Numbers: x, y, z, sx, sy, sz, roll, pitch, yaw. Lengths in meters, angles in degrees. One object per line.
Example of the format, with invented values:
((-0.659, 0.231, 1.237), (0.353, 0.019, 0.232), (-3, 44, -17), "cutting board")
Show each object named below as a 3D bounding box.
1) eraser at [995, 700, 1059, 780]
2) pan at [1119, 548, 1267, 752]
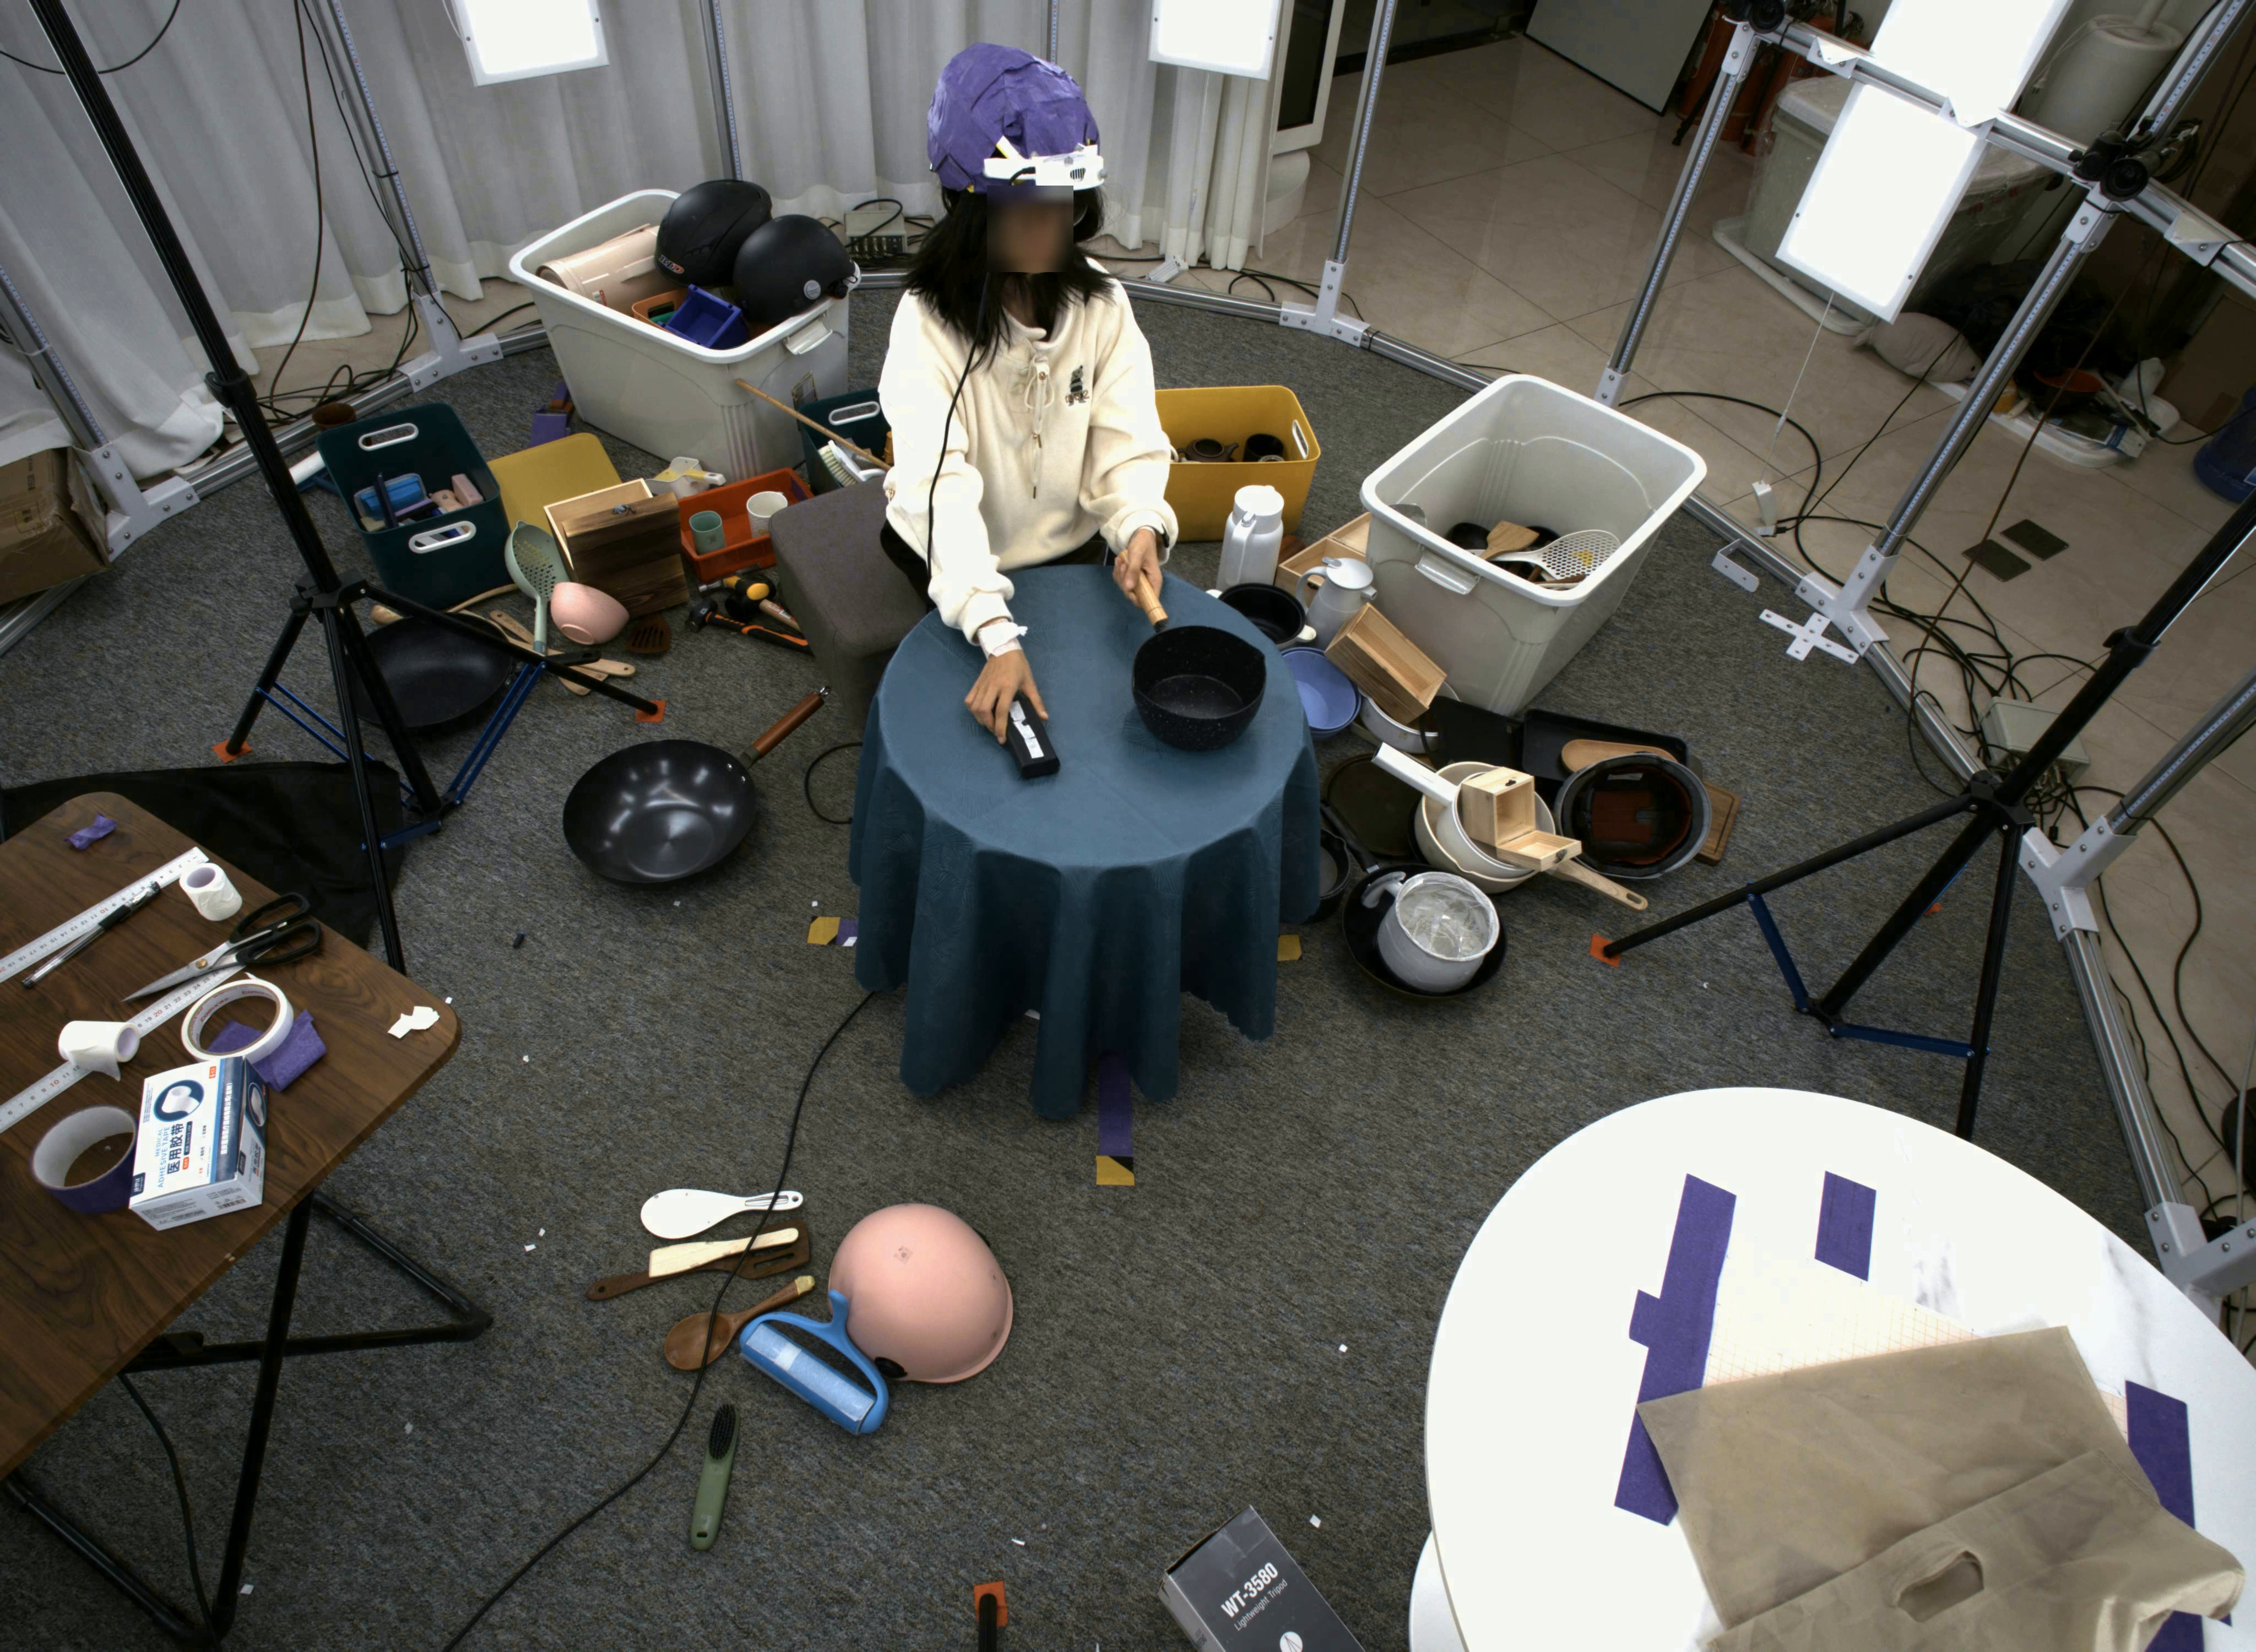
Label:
((-0.137, -0.118, 1.746), (0.053, 0.030, 0.128), (-13, 50, -15), "eraser")
((0.062, -0.251, 1.821), (0.208, 0.105, 0.350), (-18, 54, -18), "pan")
